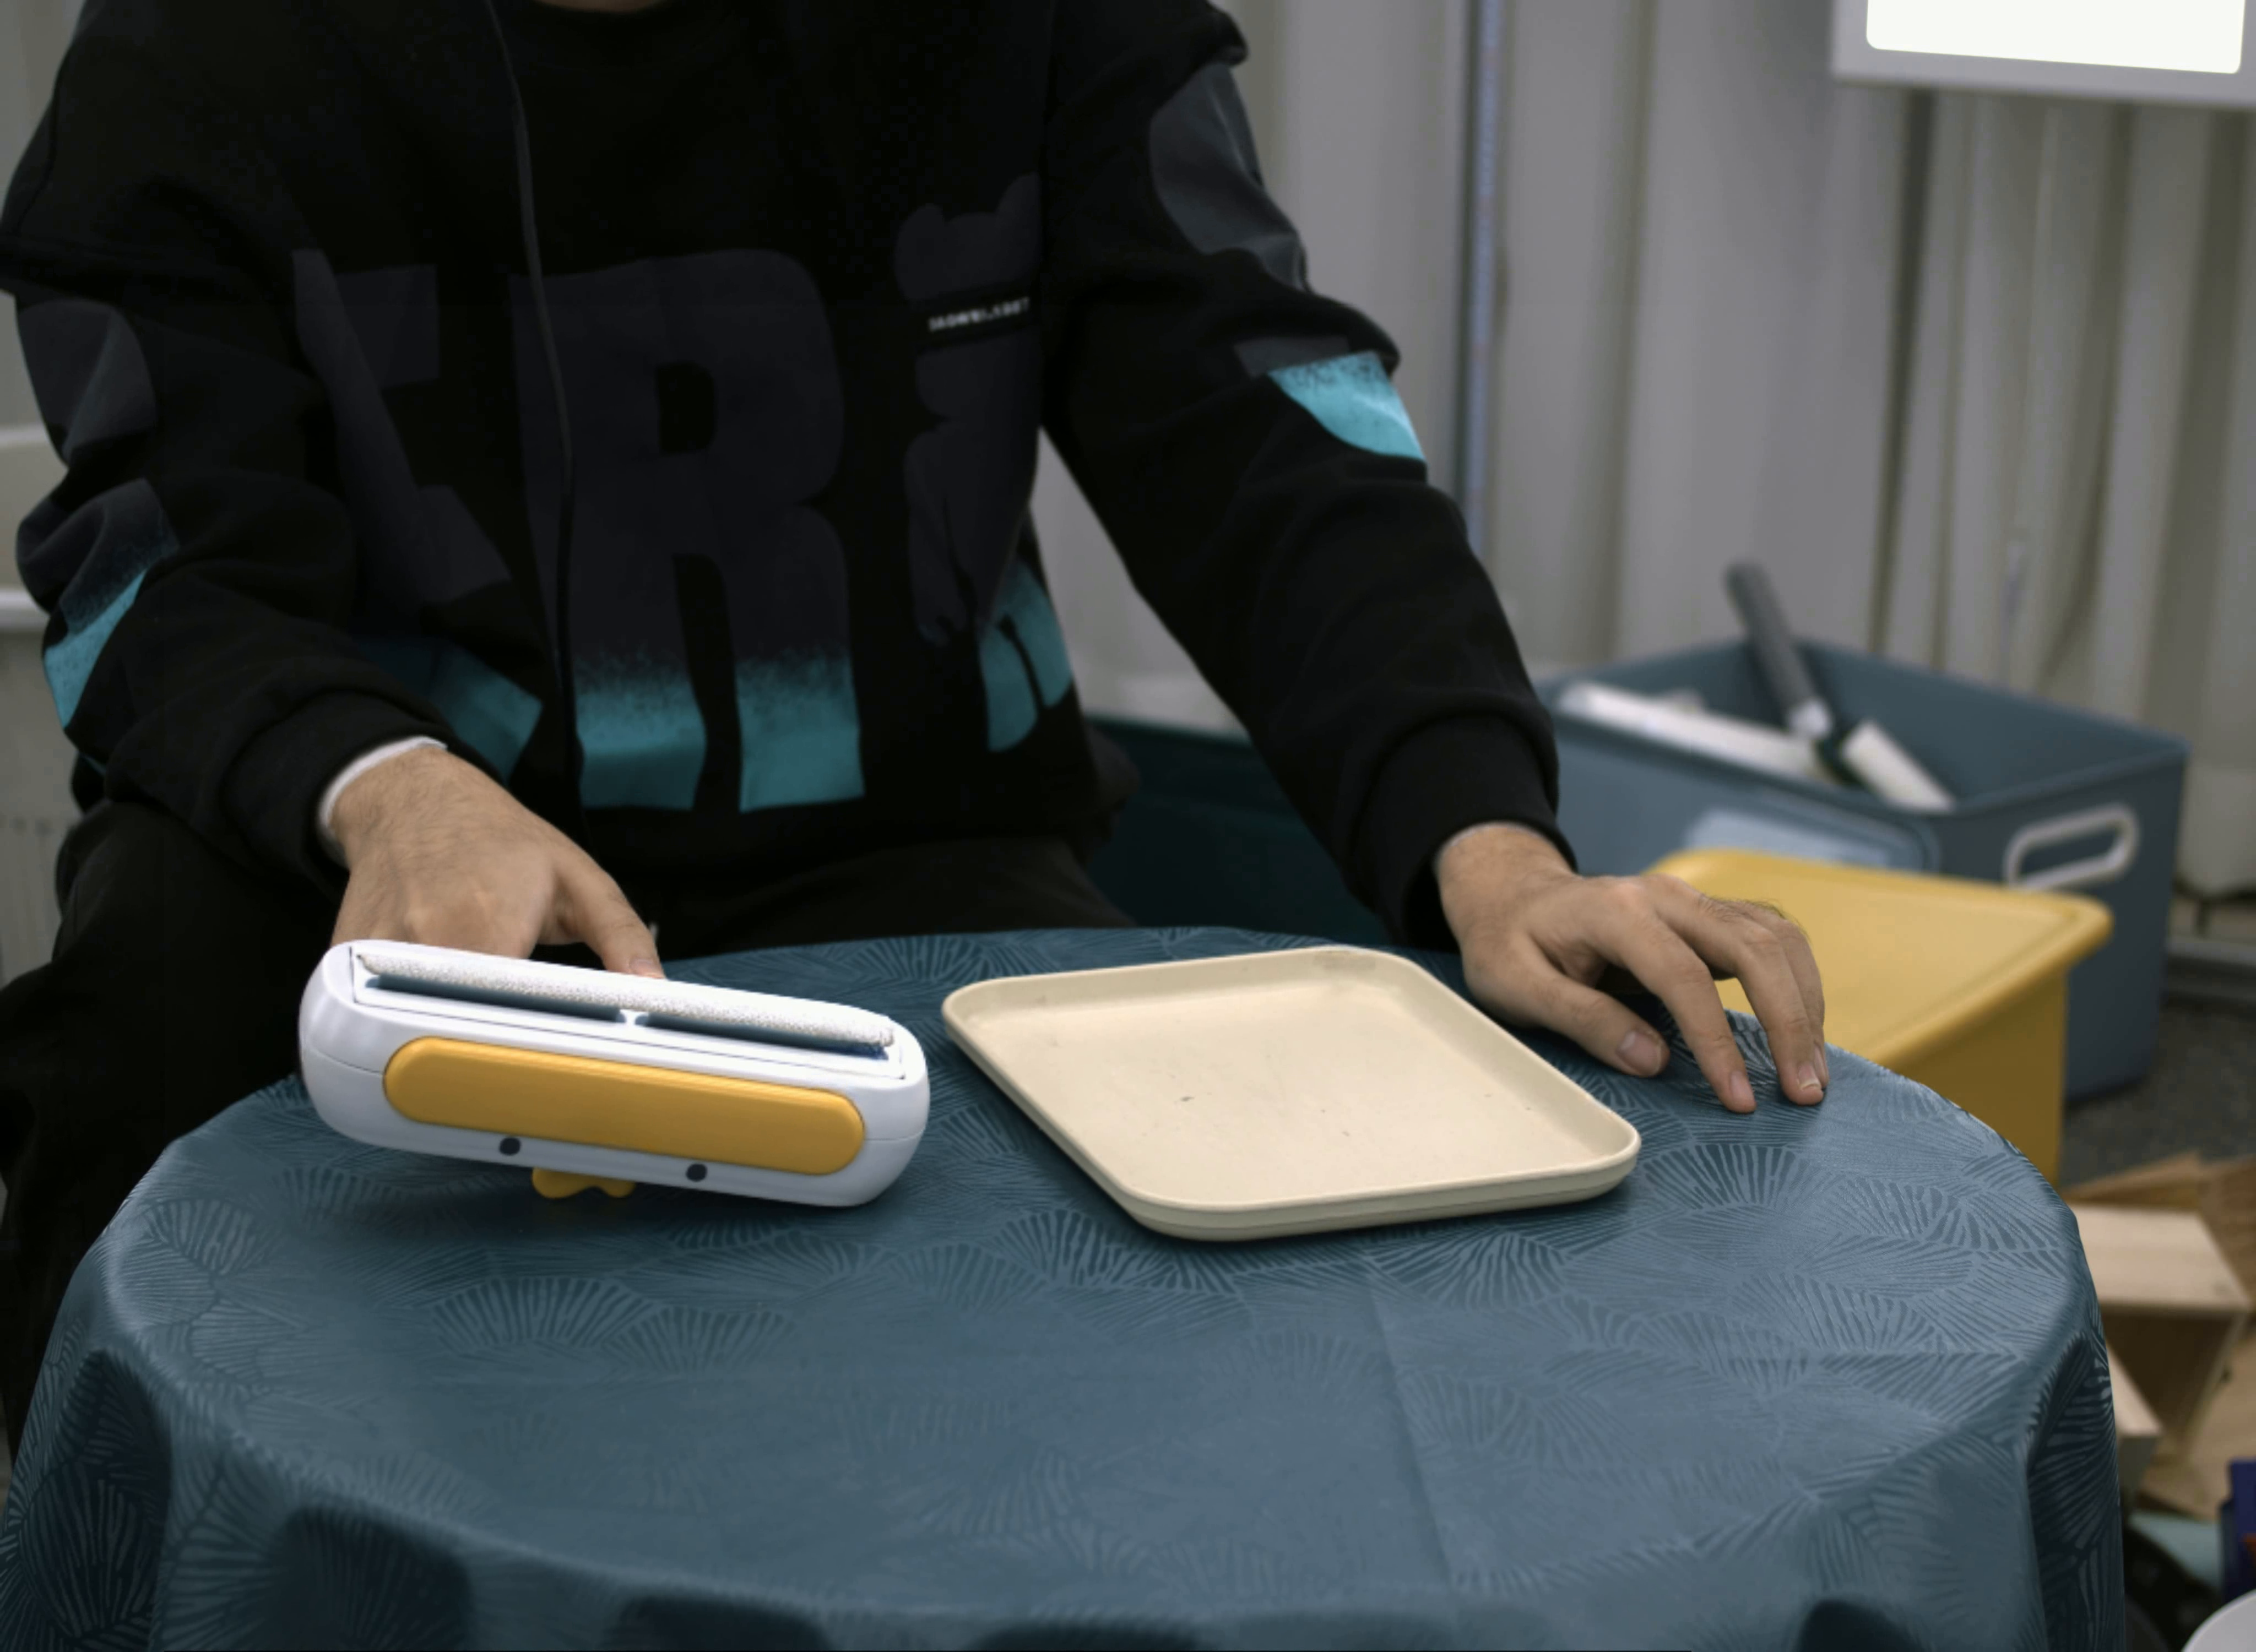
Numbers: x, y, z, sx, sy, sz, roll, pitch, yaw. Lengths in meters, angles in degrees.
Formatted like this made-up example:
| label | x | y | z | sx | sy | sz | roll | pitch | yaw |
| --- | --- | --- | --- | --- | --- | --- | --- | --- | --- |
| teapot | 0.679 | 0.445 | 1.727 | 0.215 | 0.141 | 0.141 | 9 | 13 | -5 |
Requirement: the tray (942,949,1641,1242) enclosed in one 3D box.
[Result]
| label | x | y | z | sx | sy | sz | roll | pitch | yaw |
| --- | --- | --- | --- | --- | --- | --- | --- | --- | --- |
| tray | 0.048 | 0.085 | 1.687 | 0.171 | 0.017 | 0.237 | -5 | 16 | -18 |

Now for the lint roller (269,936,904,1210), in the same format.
| label | x | y | z | sx | sy | sz | roll | pitch | yaw |
| --- | --- | --- | --- | --- | --- | --- | --- | --- | --- |
| lint roller | -0.172 | 0.067 | 1.650 | 0.193 | 0.074 | 0.191 | 5 | 13 | -10 |
